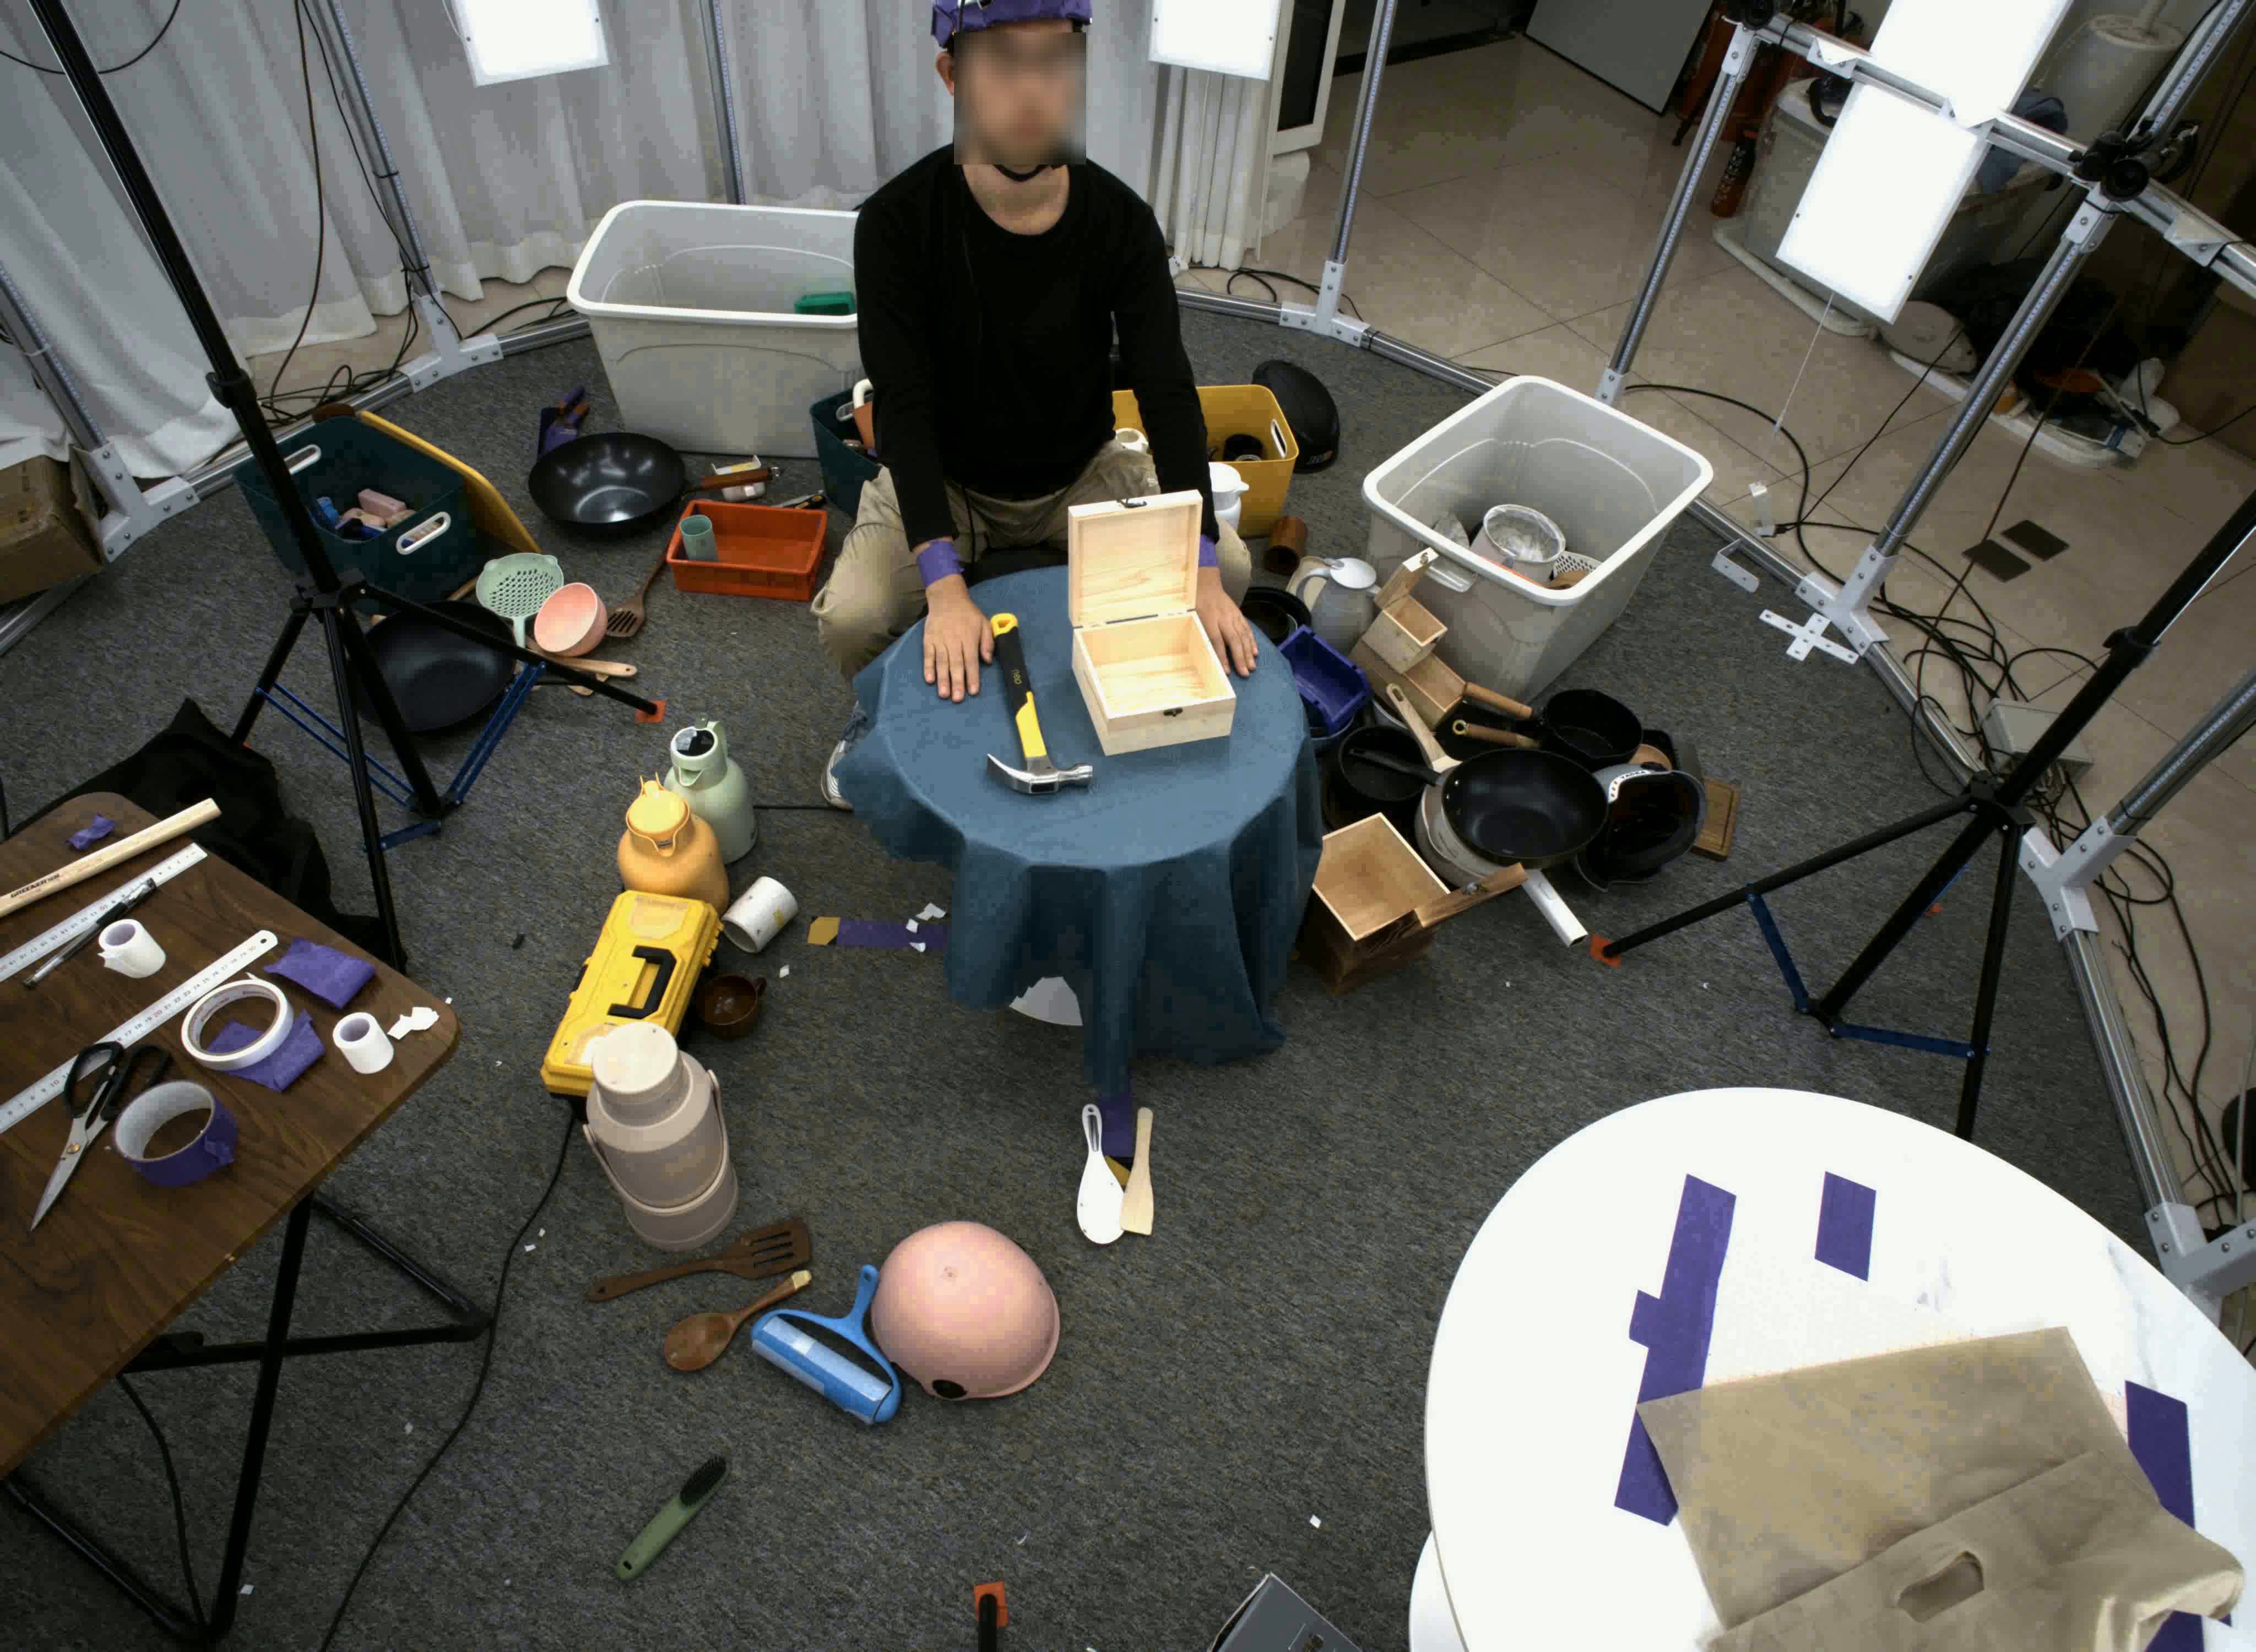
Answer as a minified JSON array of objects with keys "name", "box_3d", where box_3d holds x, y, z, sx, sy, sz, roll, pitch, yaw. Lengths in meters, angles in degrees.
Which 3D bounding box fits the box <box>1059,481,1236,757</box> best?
[{"name":"box","box_3d":[0.028,-0.282,1.755,0.182,0.247,0.271,-12,51,-11]}]

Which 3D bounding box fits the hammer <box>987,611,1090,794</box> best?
[{"name":"hammer","box_3d":[-0.147,-0.181,1.793,0.131,0.031,0.347,-7,51,-10]}]
